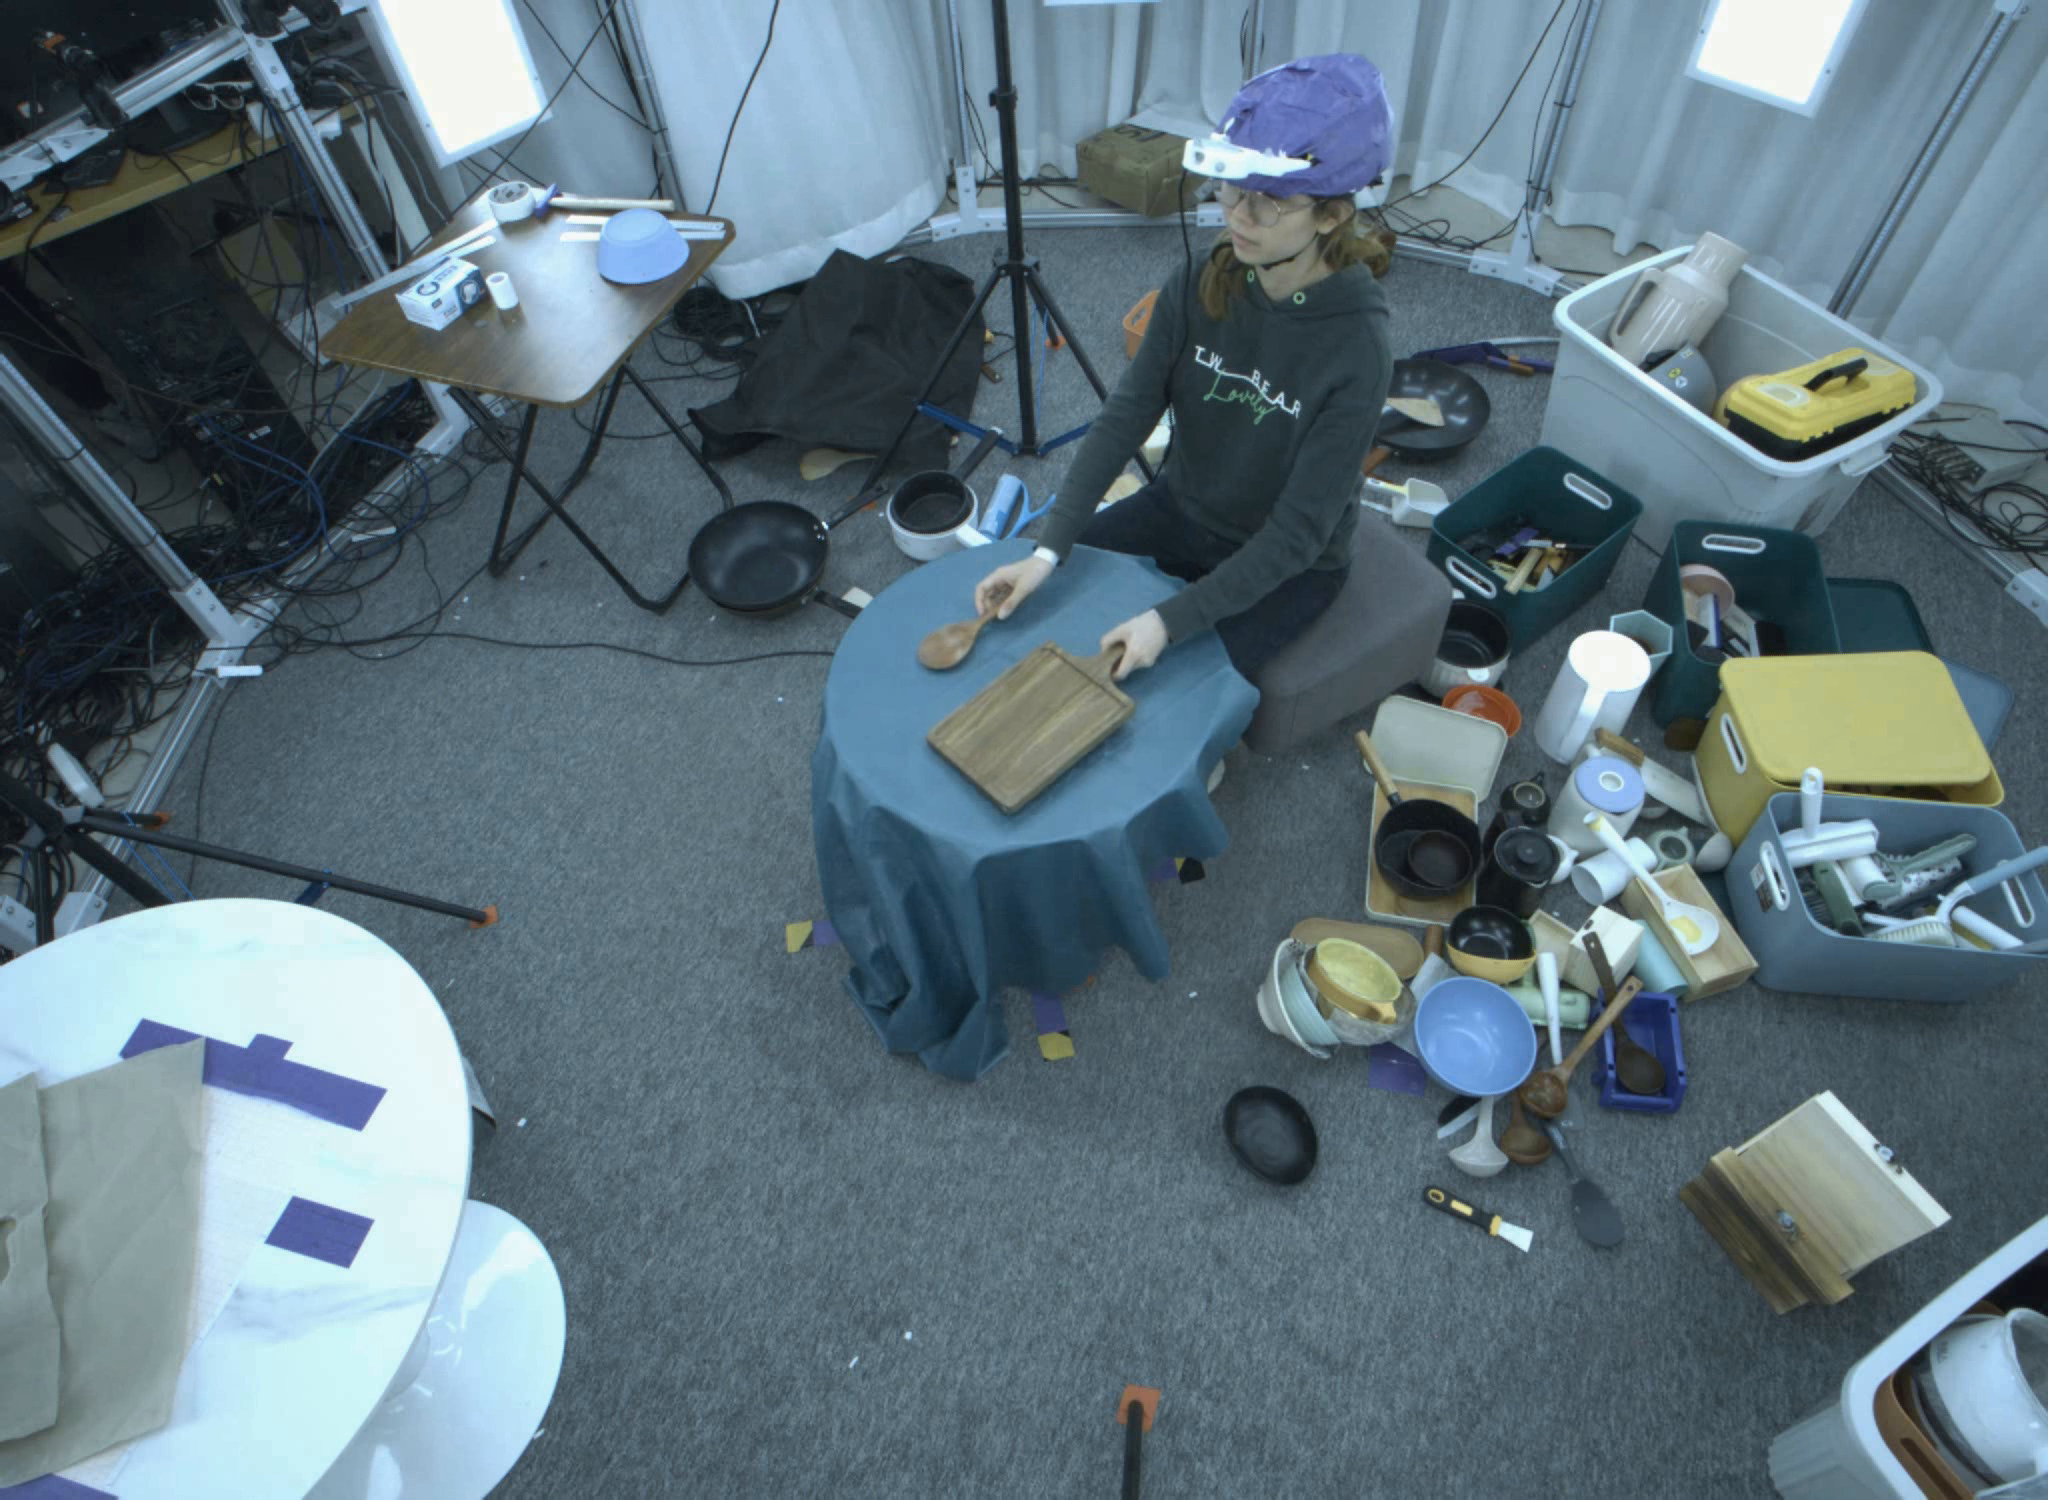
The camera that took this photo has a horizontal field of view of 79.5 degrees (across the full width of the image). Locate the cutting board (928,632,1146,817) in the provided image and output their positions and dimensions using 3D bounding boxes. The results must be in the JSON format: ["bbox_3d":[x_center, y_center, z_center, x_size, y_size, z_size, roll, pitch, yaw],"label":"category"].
[{"bbox_3d":[0.049,-0.063,1.806,0.354,0.023,0.197,-39,56,-19],"label":"cutting board"}]

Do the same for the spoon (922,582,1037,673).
[{"bbox_3d":[-0.067,-0.191,1.908,0.217,0.017,0.074,-39,61,-11],"label":"spoon"}]
